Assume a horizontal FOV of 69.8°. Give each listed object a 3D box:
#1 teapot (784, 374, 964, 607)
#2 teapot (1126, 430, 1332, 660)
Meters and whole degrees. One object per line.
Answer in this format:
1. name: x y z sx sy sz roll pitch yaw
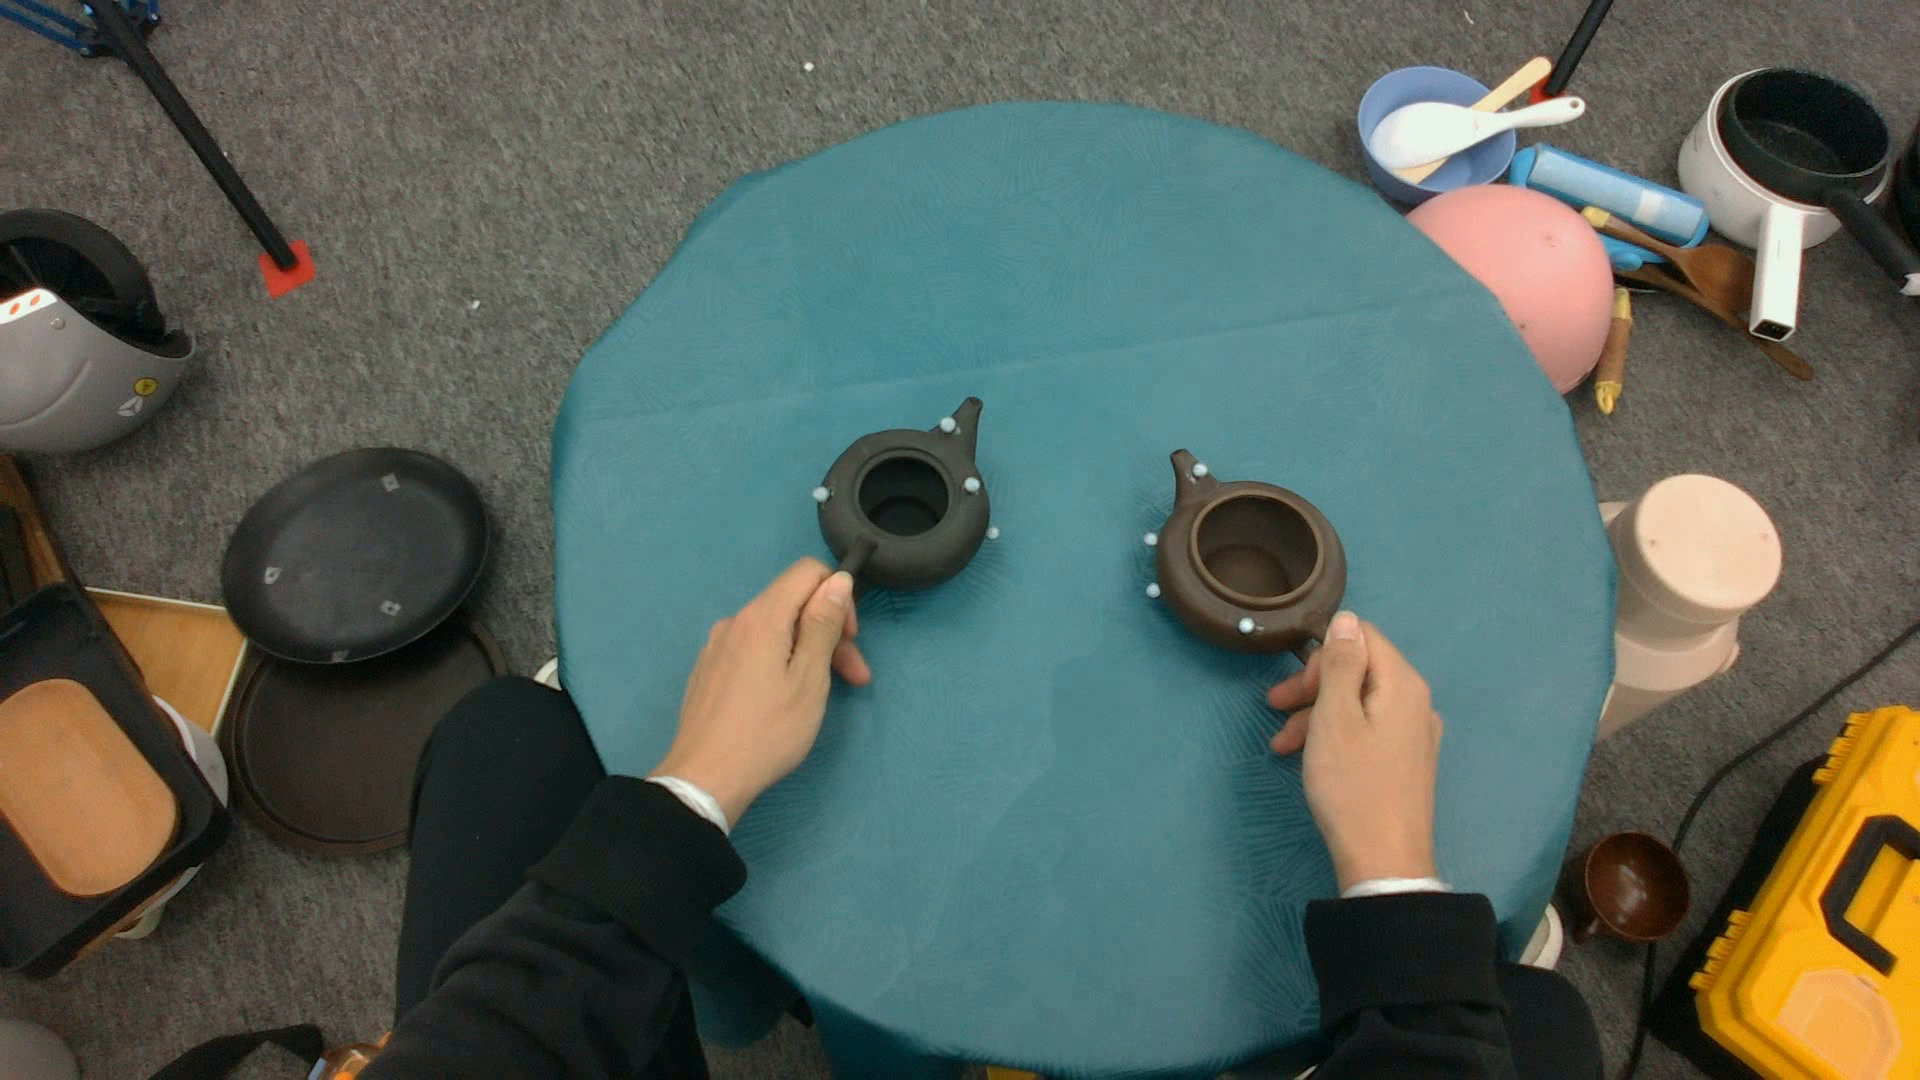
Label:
1. teapot: -0.046 -0.025 0.742 0.092 0.064 0.155 31 68 11
2. teapot: 0.144 0.005 0.745 0.103 0.053 0.153 -36 66 -16
